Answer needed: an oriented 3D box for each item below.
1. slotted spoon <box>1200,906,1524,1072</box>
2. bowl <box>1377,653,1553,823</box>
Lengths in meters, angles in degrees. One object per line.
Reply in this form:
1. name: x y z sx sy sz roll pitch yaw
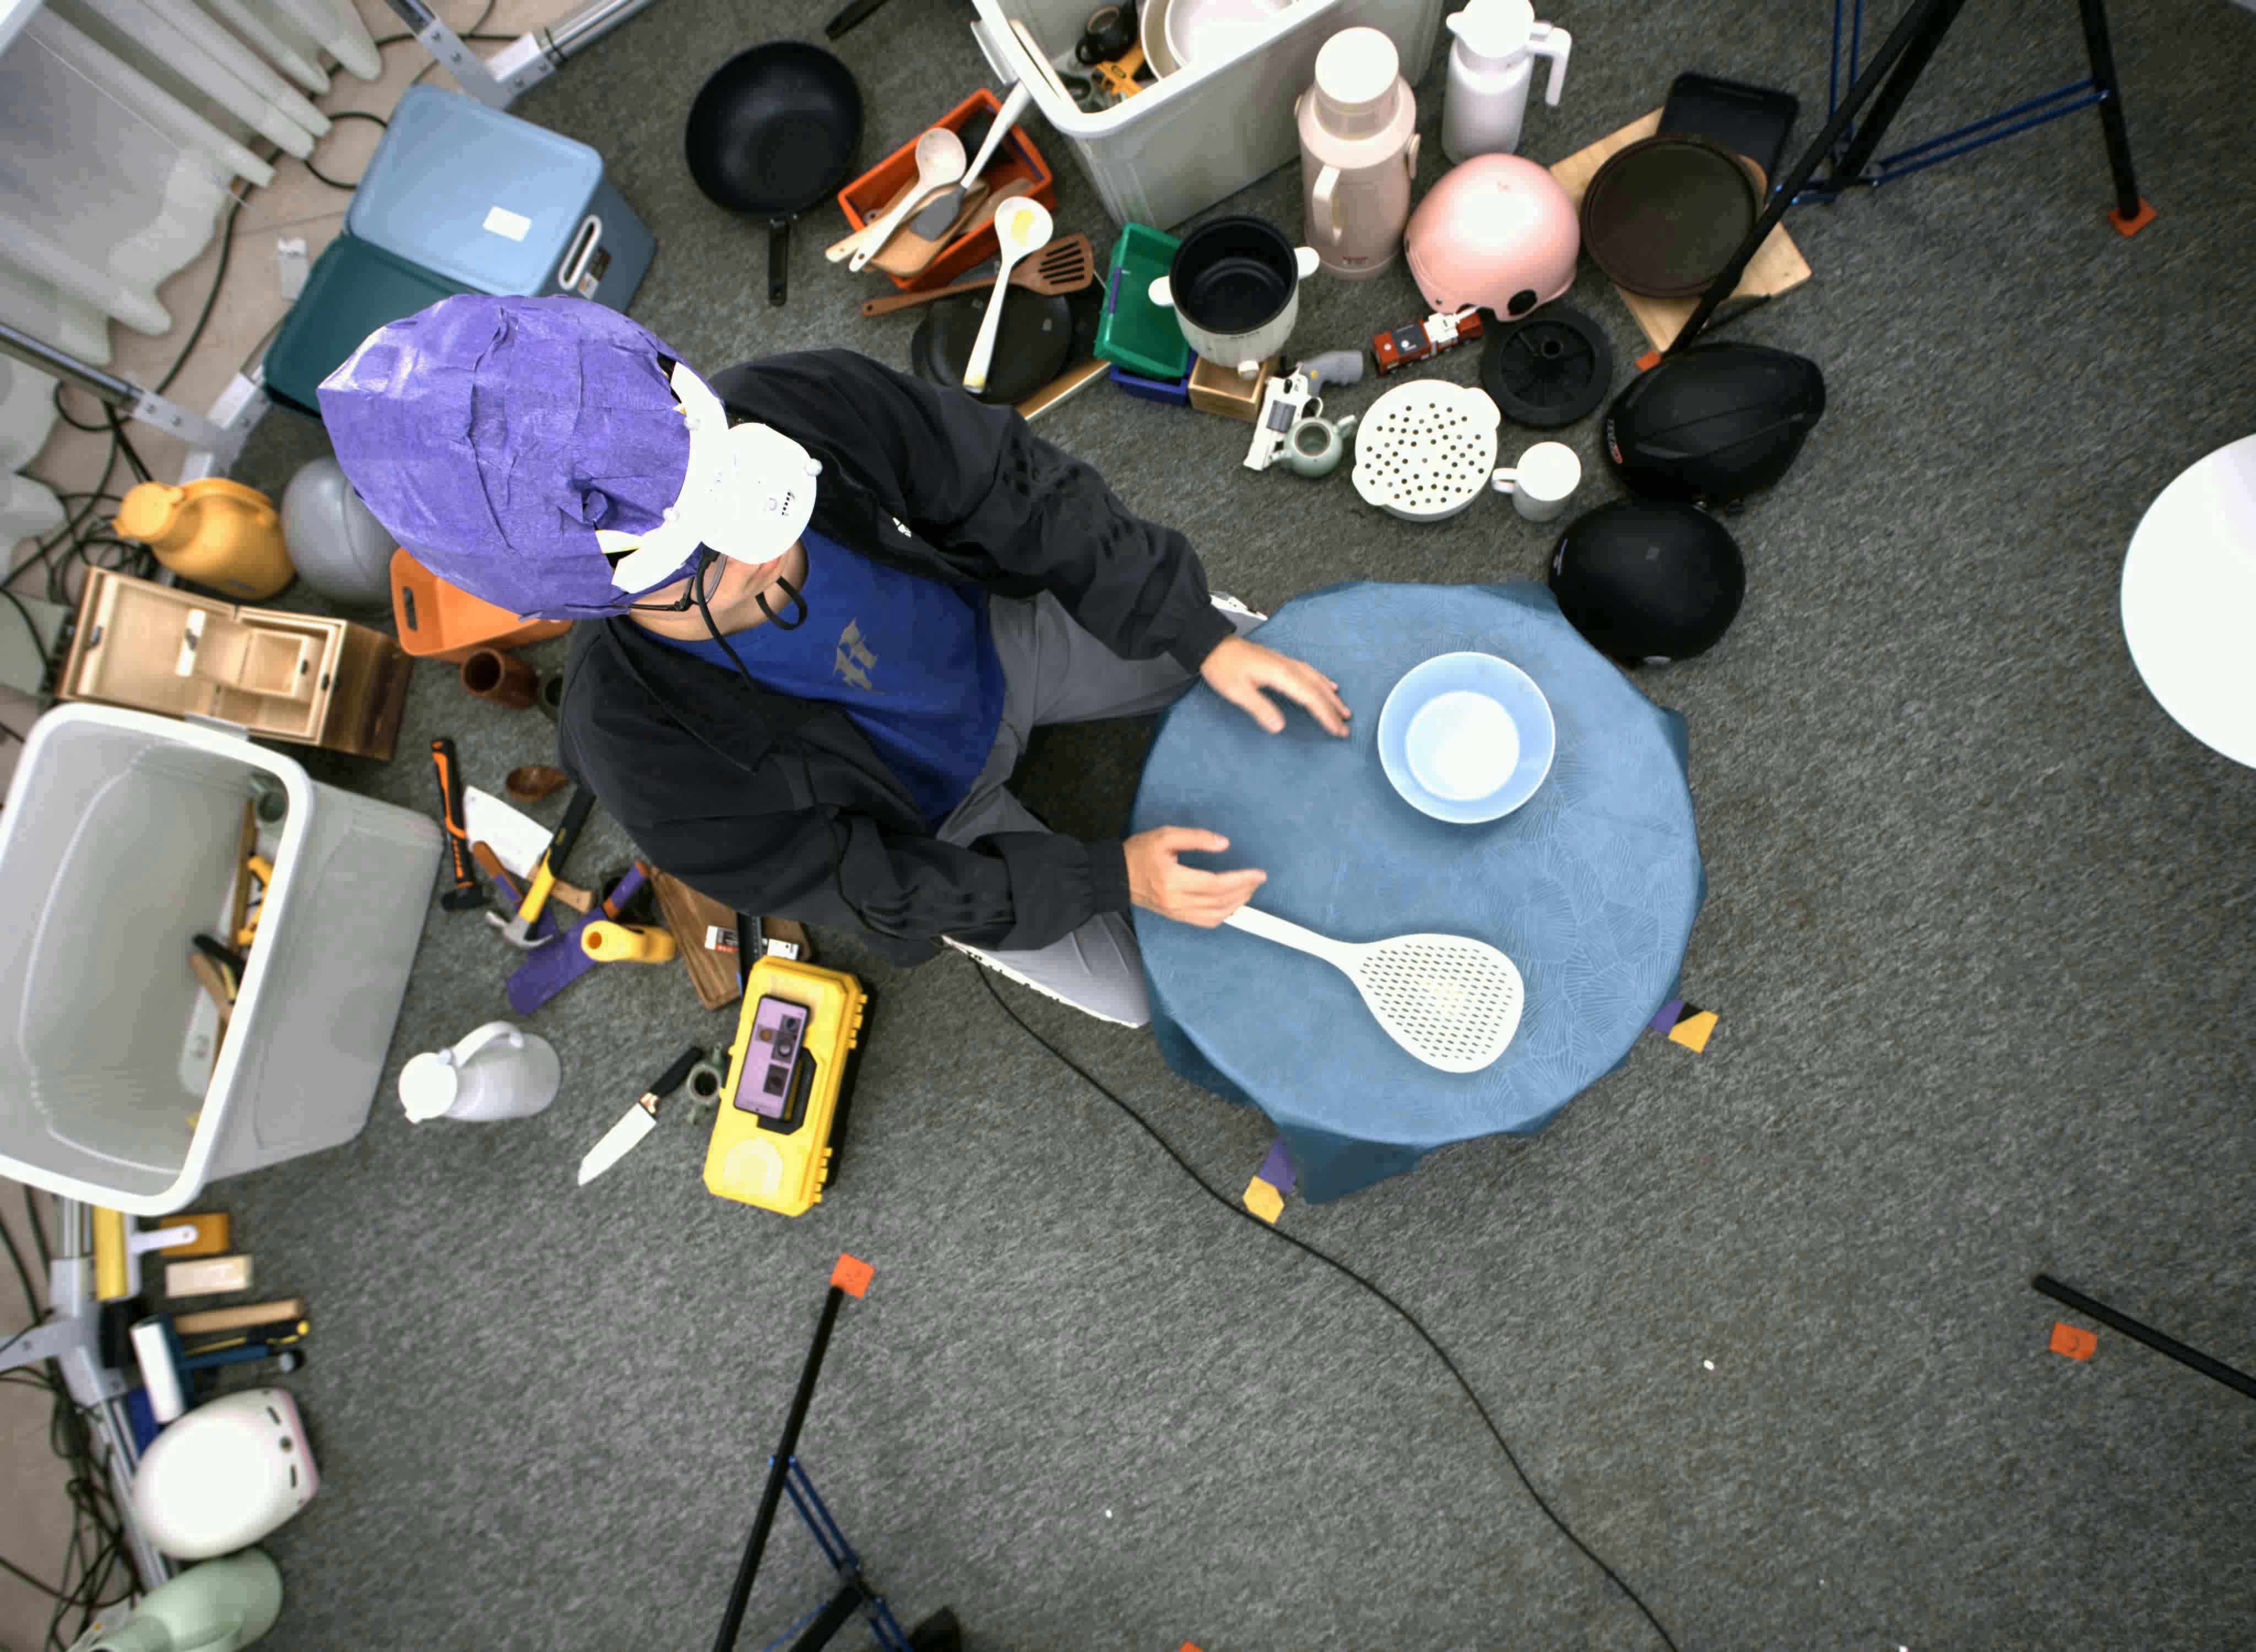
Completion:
1. slotted spoon: 0.236 0.141 1.440 0.348 0.050 0.137 20 94 12
2. bowl: 0.345 -0.088 1.417 0.177 0.070 0.175 -1 86 11
